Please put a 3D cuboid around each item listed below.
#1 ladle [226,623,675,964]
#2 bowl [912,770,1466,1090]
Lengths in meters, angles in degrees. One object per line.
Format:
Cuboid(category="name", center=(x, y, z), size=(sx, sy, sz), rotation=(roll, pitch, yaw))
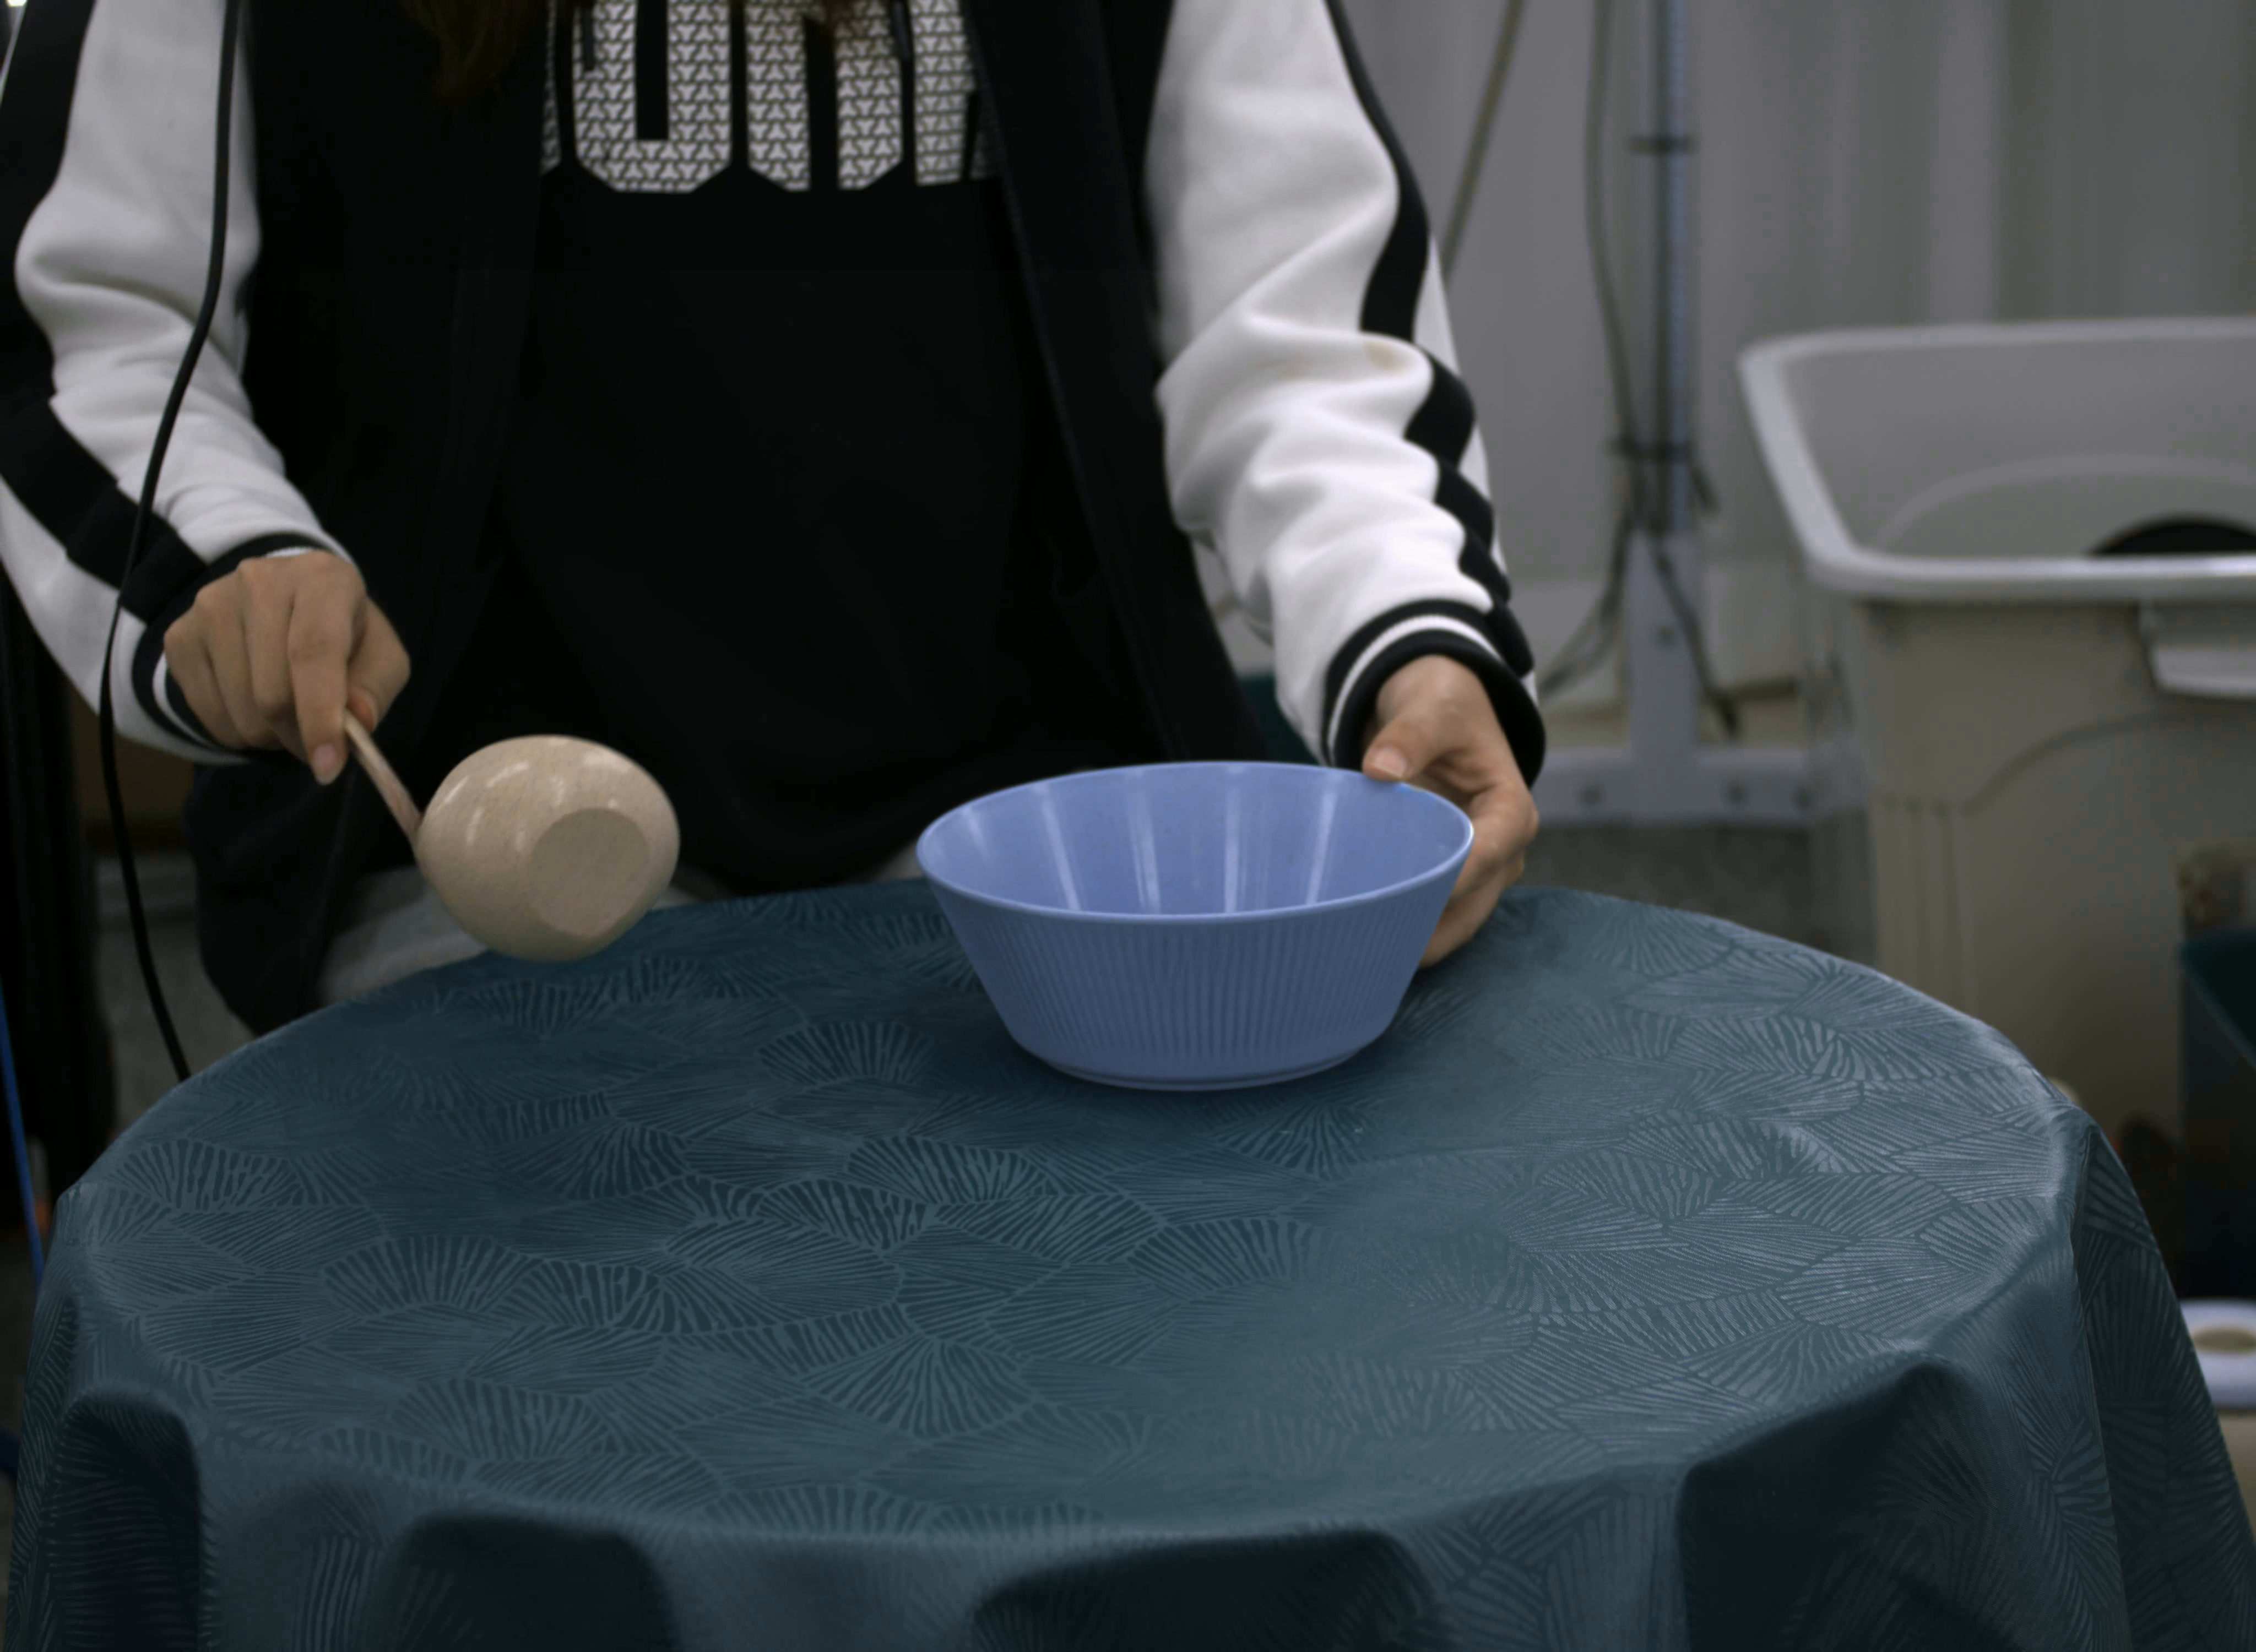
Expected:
Cuboid(category="ladle", center=(-0.214, -0.032, 1.675), size=(0.072, 0.071, 0.260), rotation=(-33, 33, -9))
Cuboid(category="bowl", center=(0.020, 0.035, 1.685), size=(0.175, 0.070, 0.177), rotation=(-2, 16, -1))
